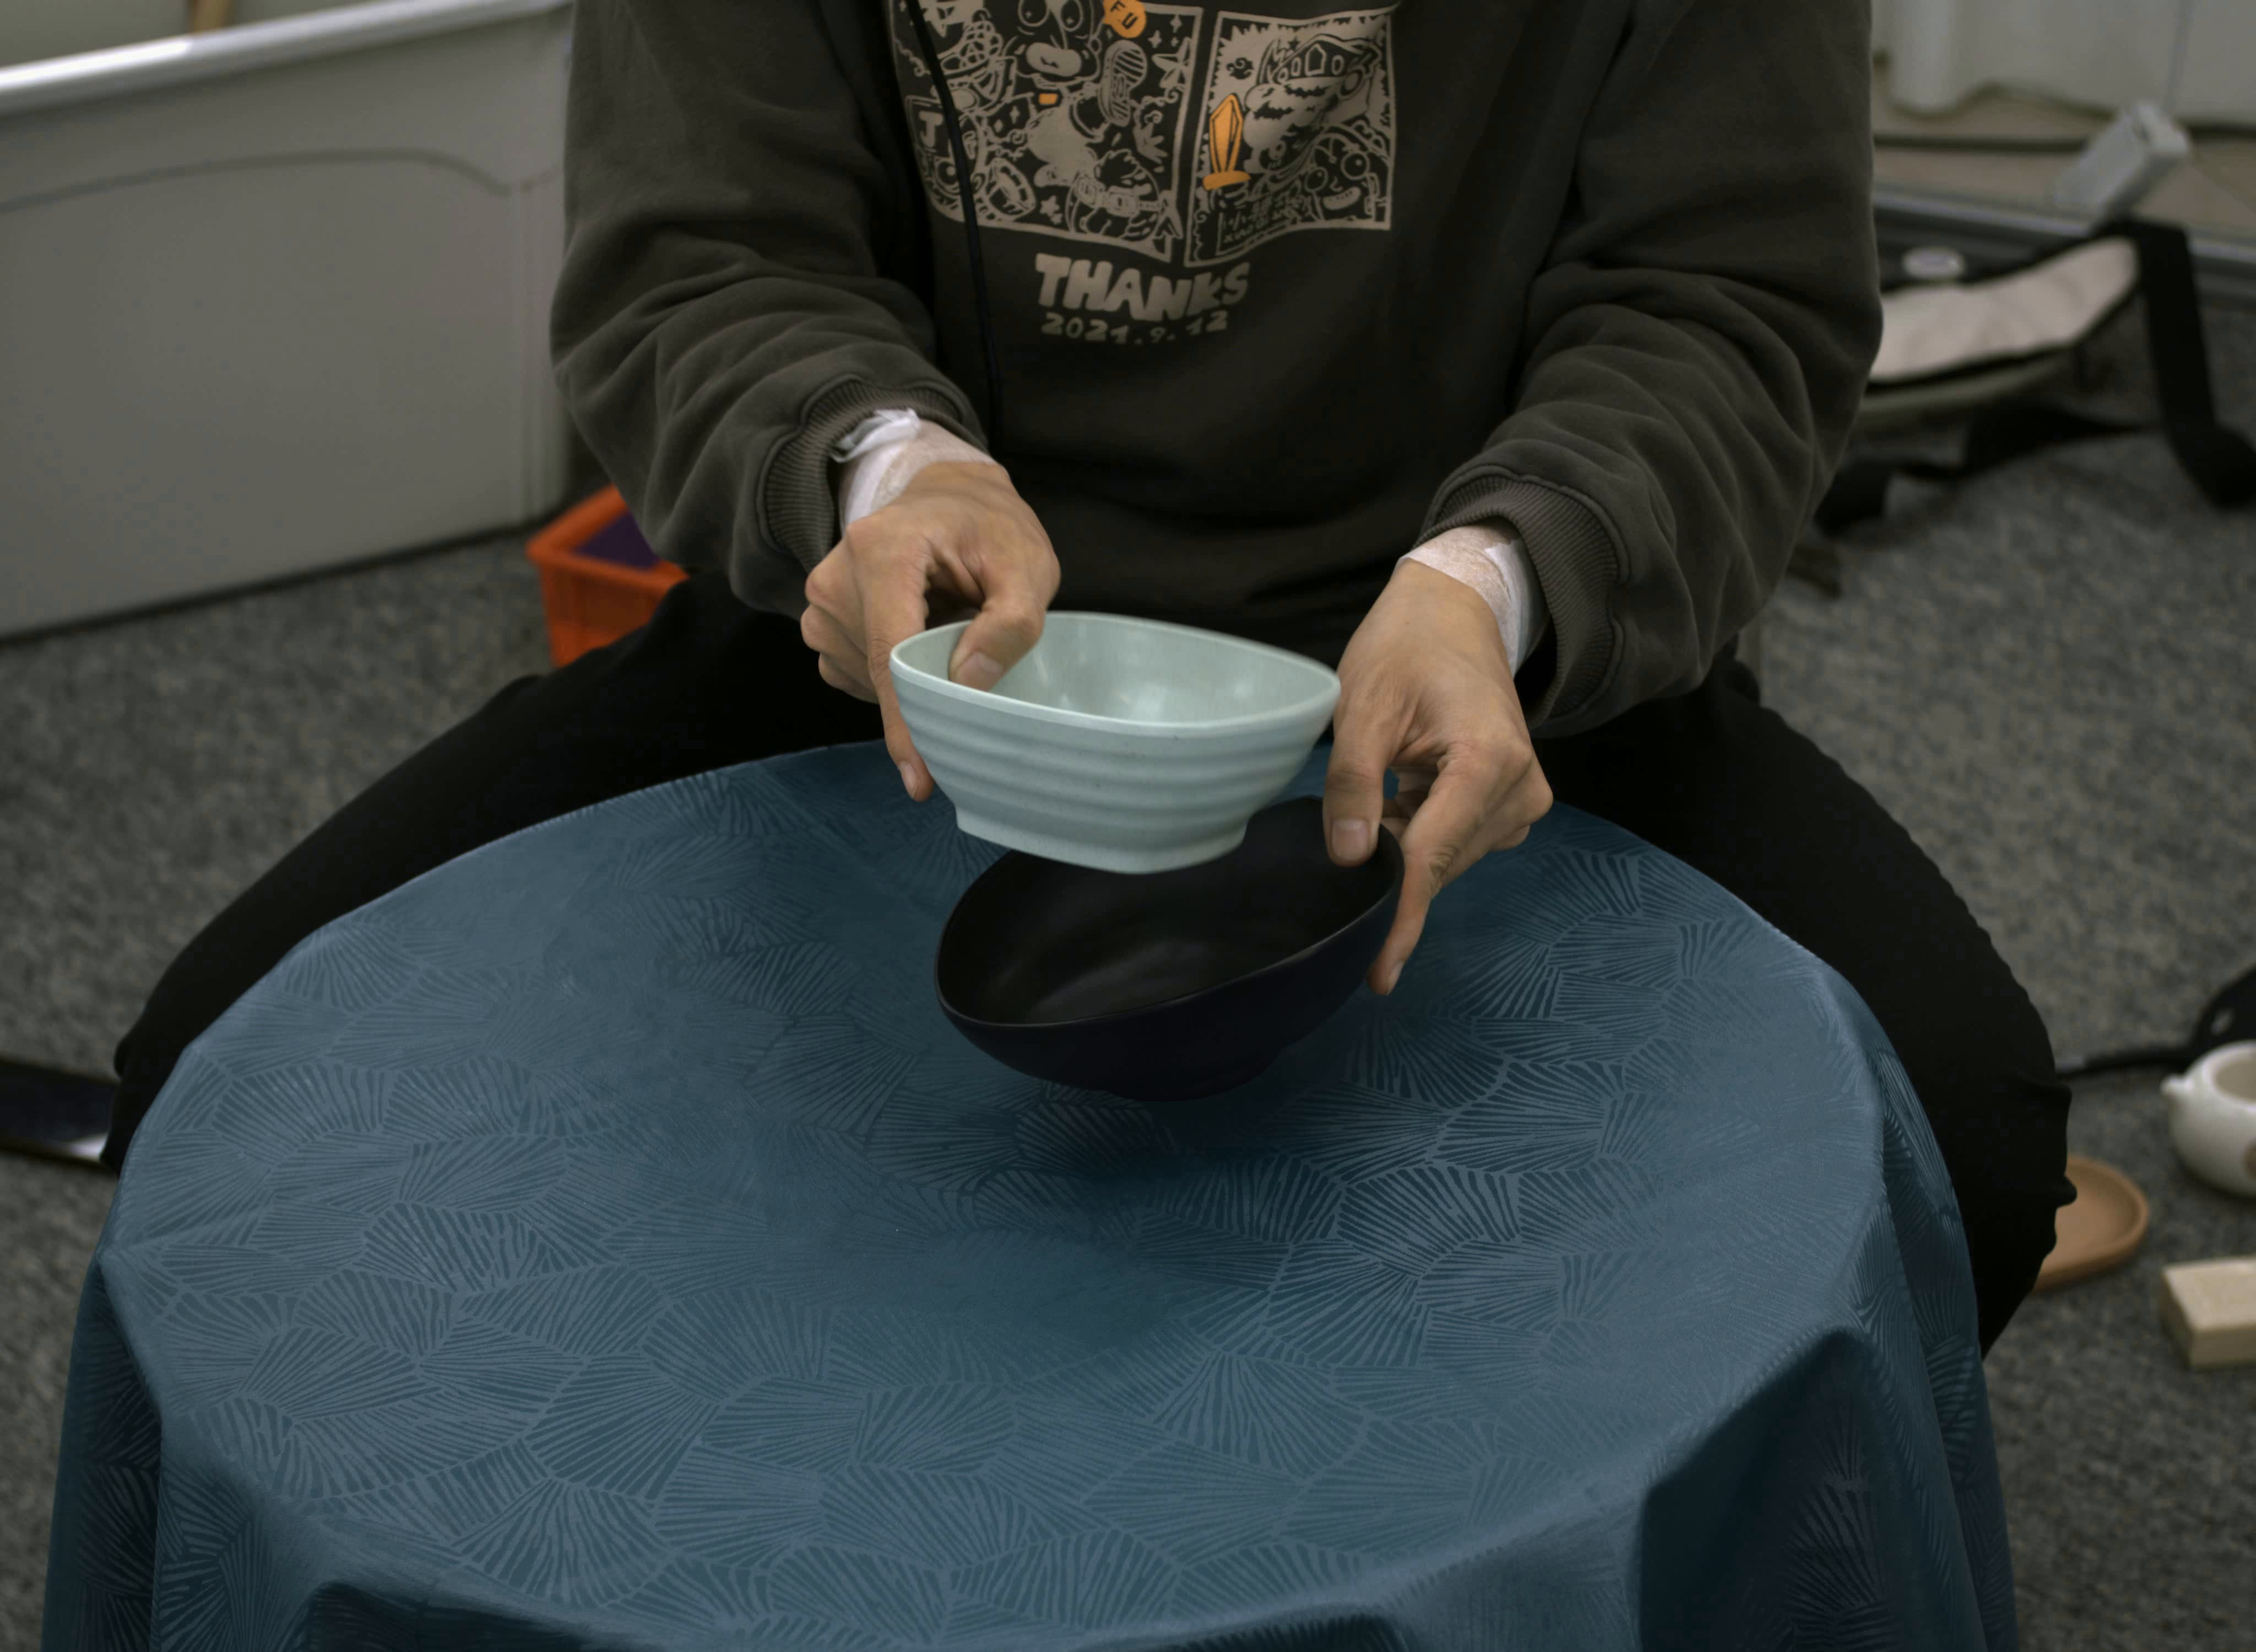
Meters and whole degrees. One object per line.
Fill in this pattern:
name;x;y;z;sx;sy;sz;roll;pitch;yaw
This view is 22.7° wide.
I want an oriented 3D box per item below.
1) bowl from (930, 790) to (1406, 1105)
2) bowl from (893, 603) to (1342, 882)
bowl;0.017;0.050;1.886;0.171;0.066;0.137;-23;31;-26
bowl;-0.007;-0.025;1.856;0.151;0.058;0.153;9;16;-2
